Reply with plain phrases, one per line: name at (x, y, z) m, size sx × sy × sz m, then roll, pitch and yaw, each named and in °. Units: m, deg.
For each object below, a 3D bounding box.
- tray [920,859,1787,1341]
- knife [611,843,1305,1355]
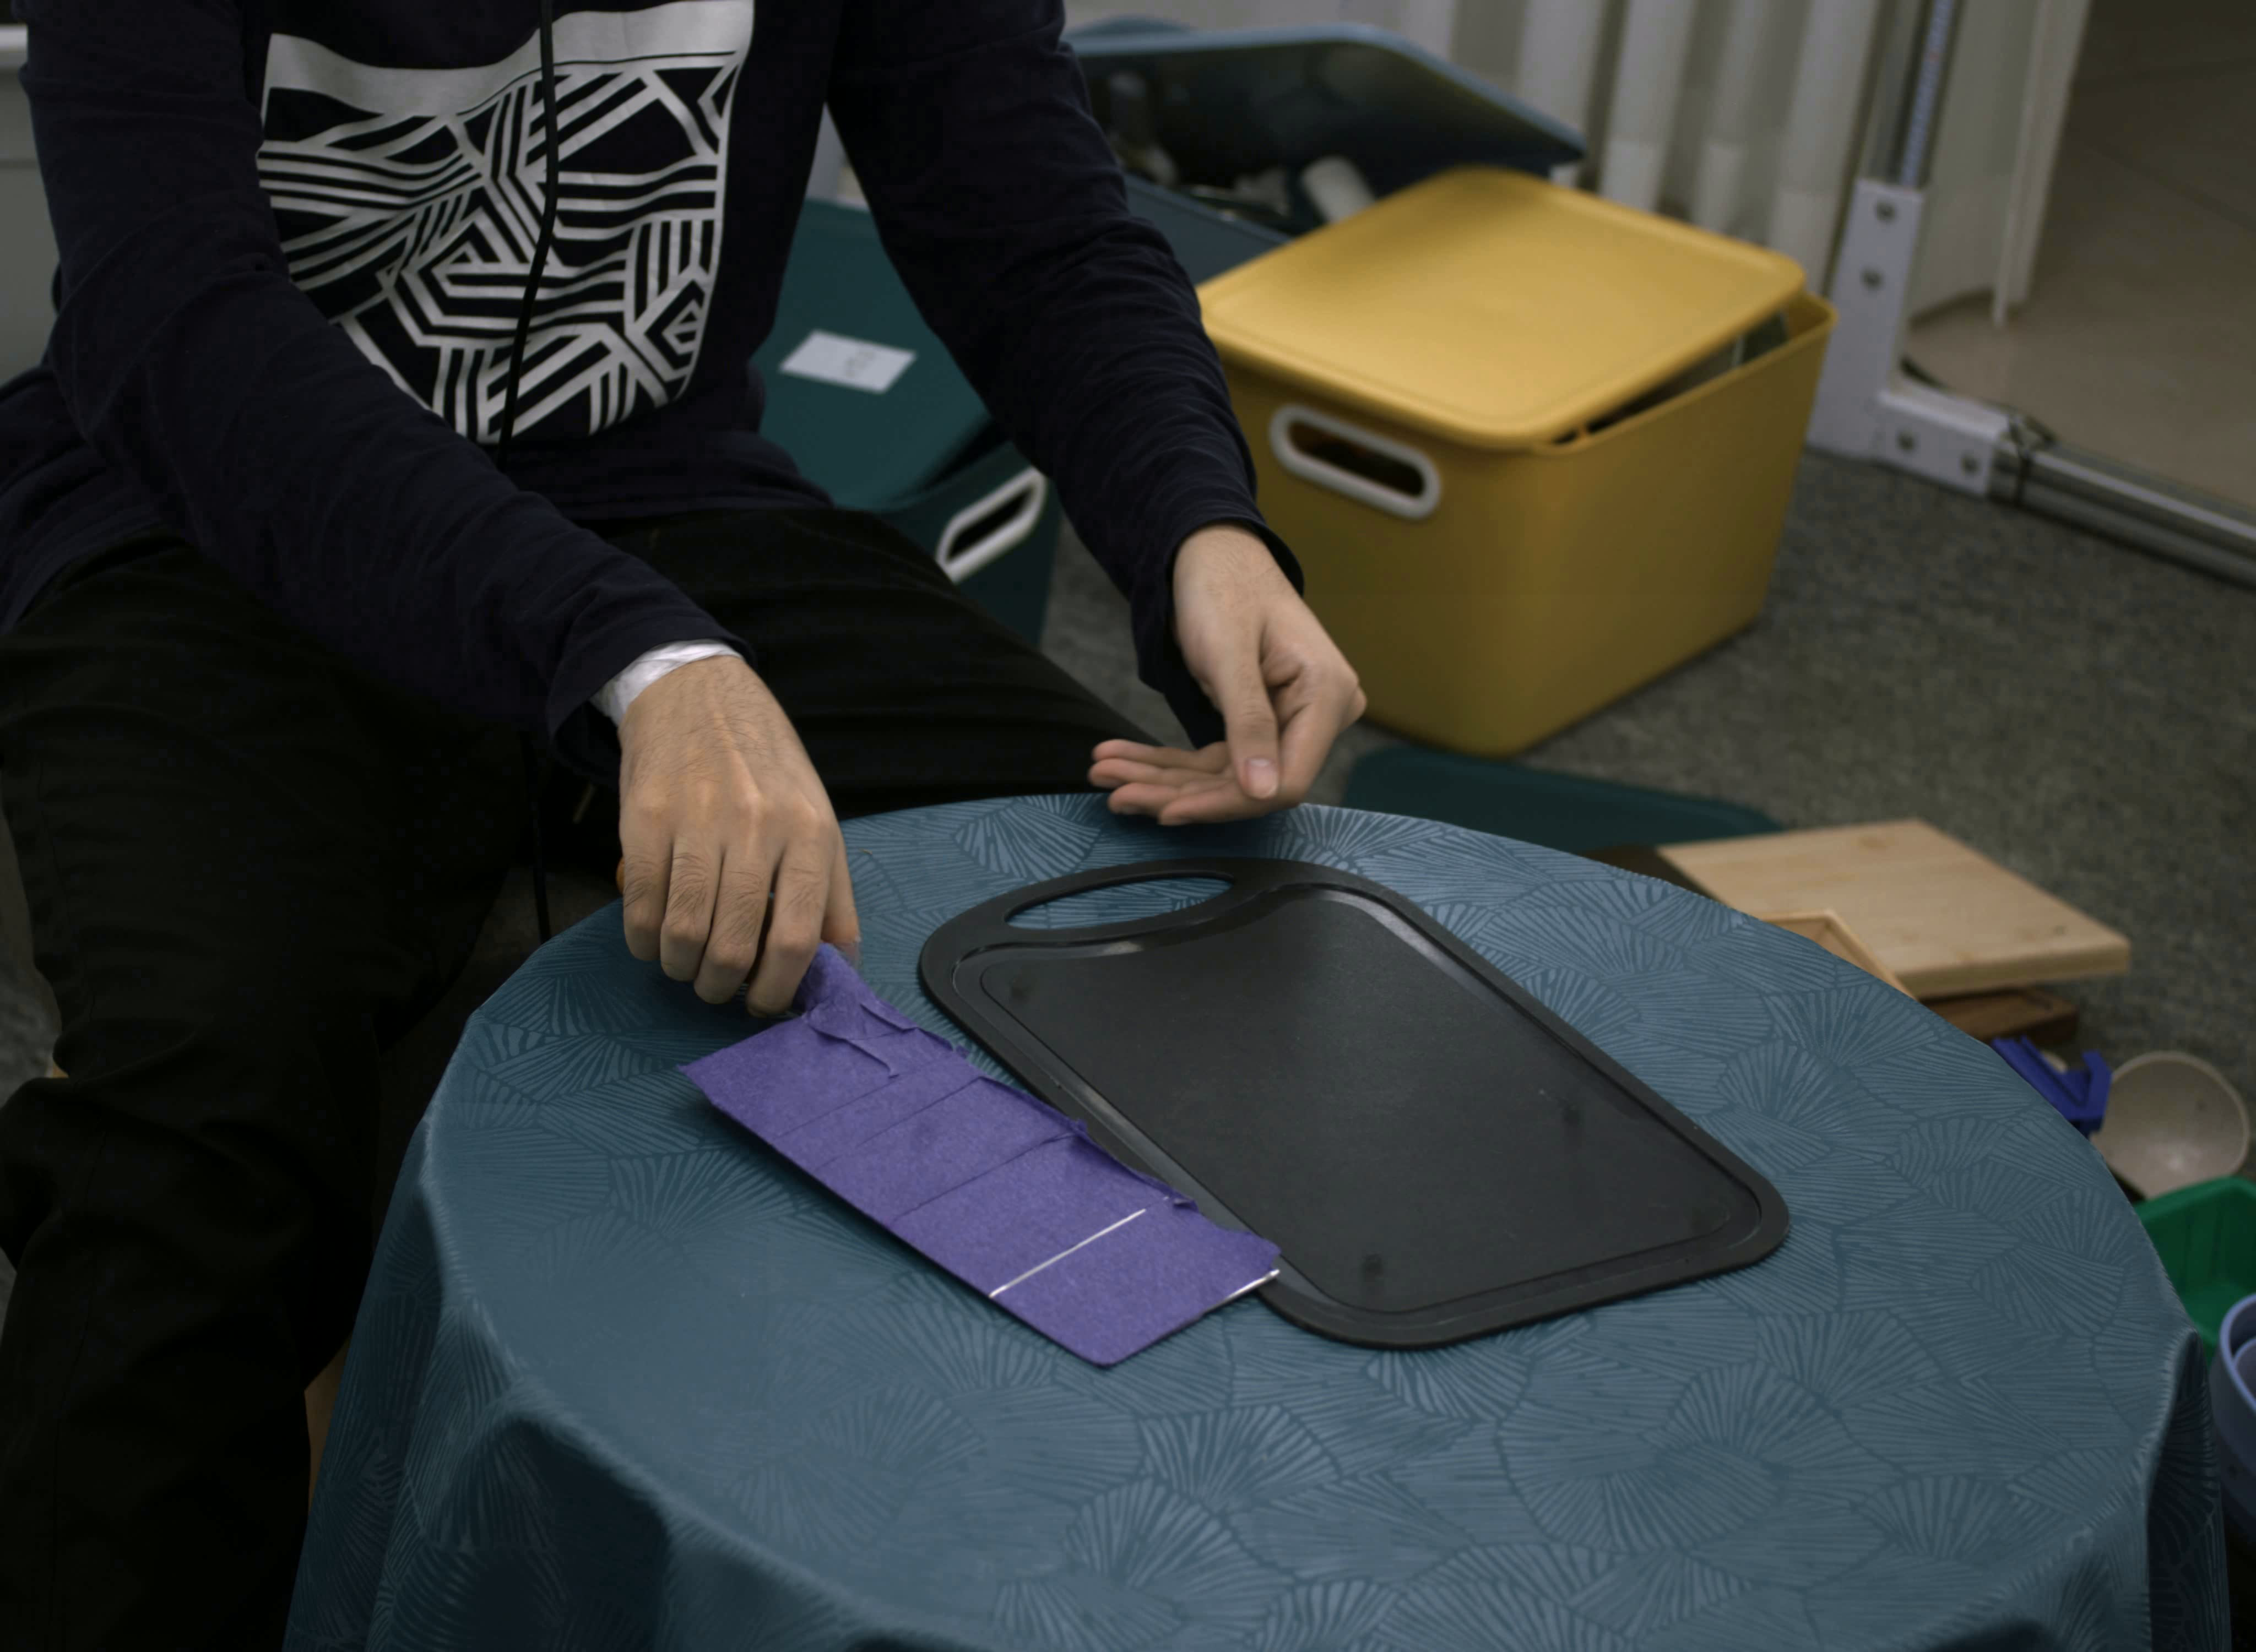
tray at (0.070, 0.087, 1.885) m, size 0.210 × 0.010 × 0.328 m, roll -10°, pitch 31°, yaw -30°
knife at (-0.086, 0.090, 1.817) m, size 0.317 × 0.032 × 0.103 m, roll 29°, pitch 36°, yaw 35°
